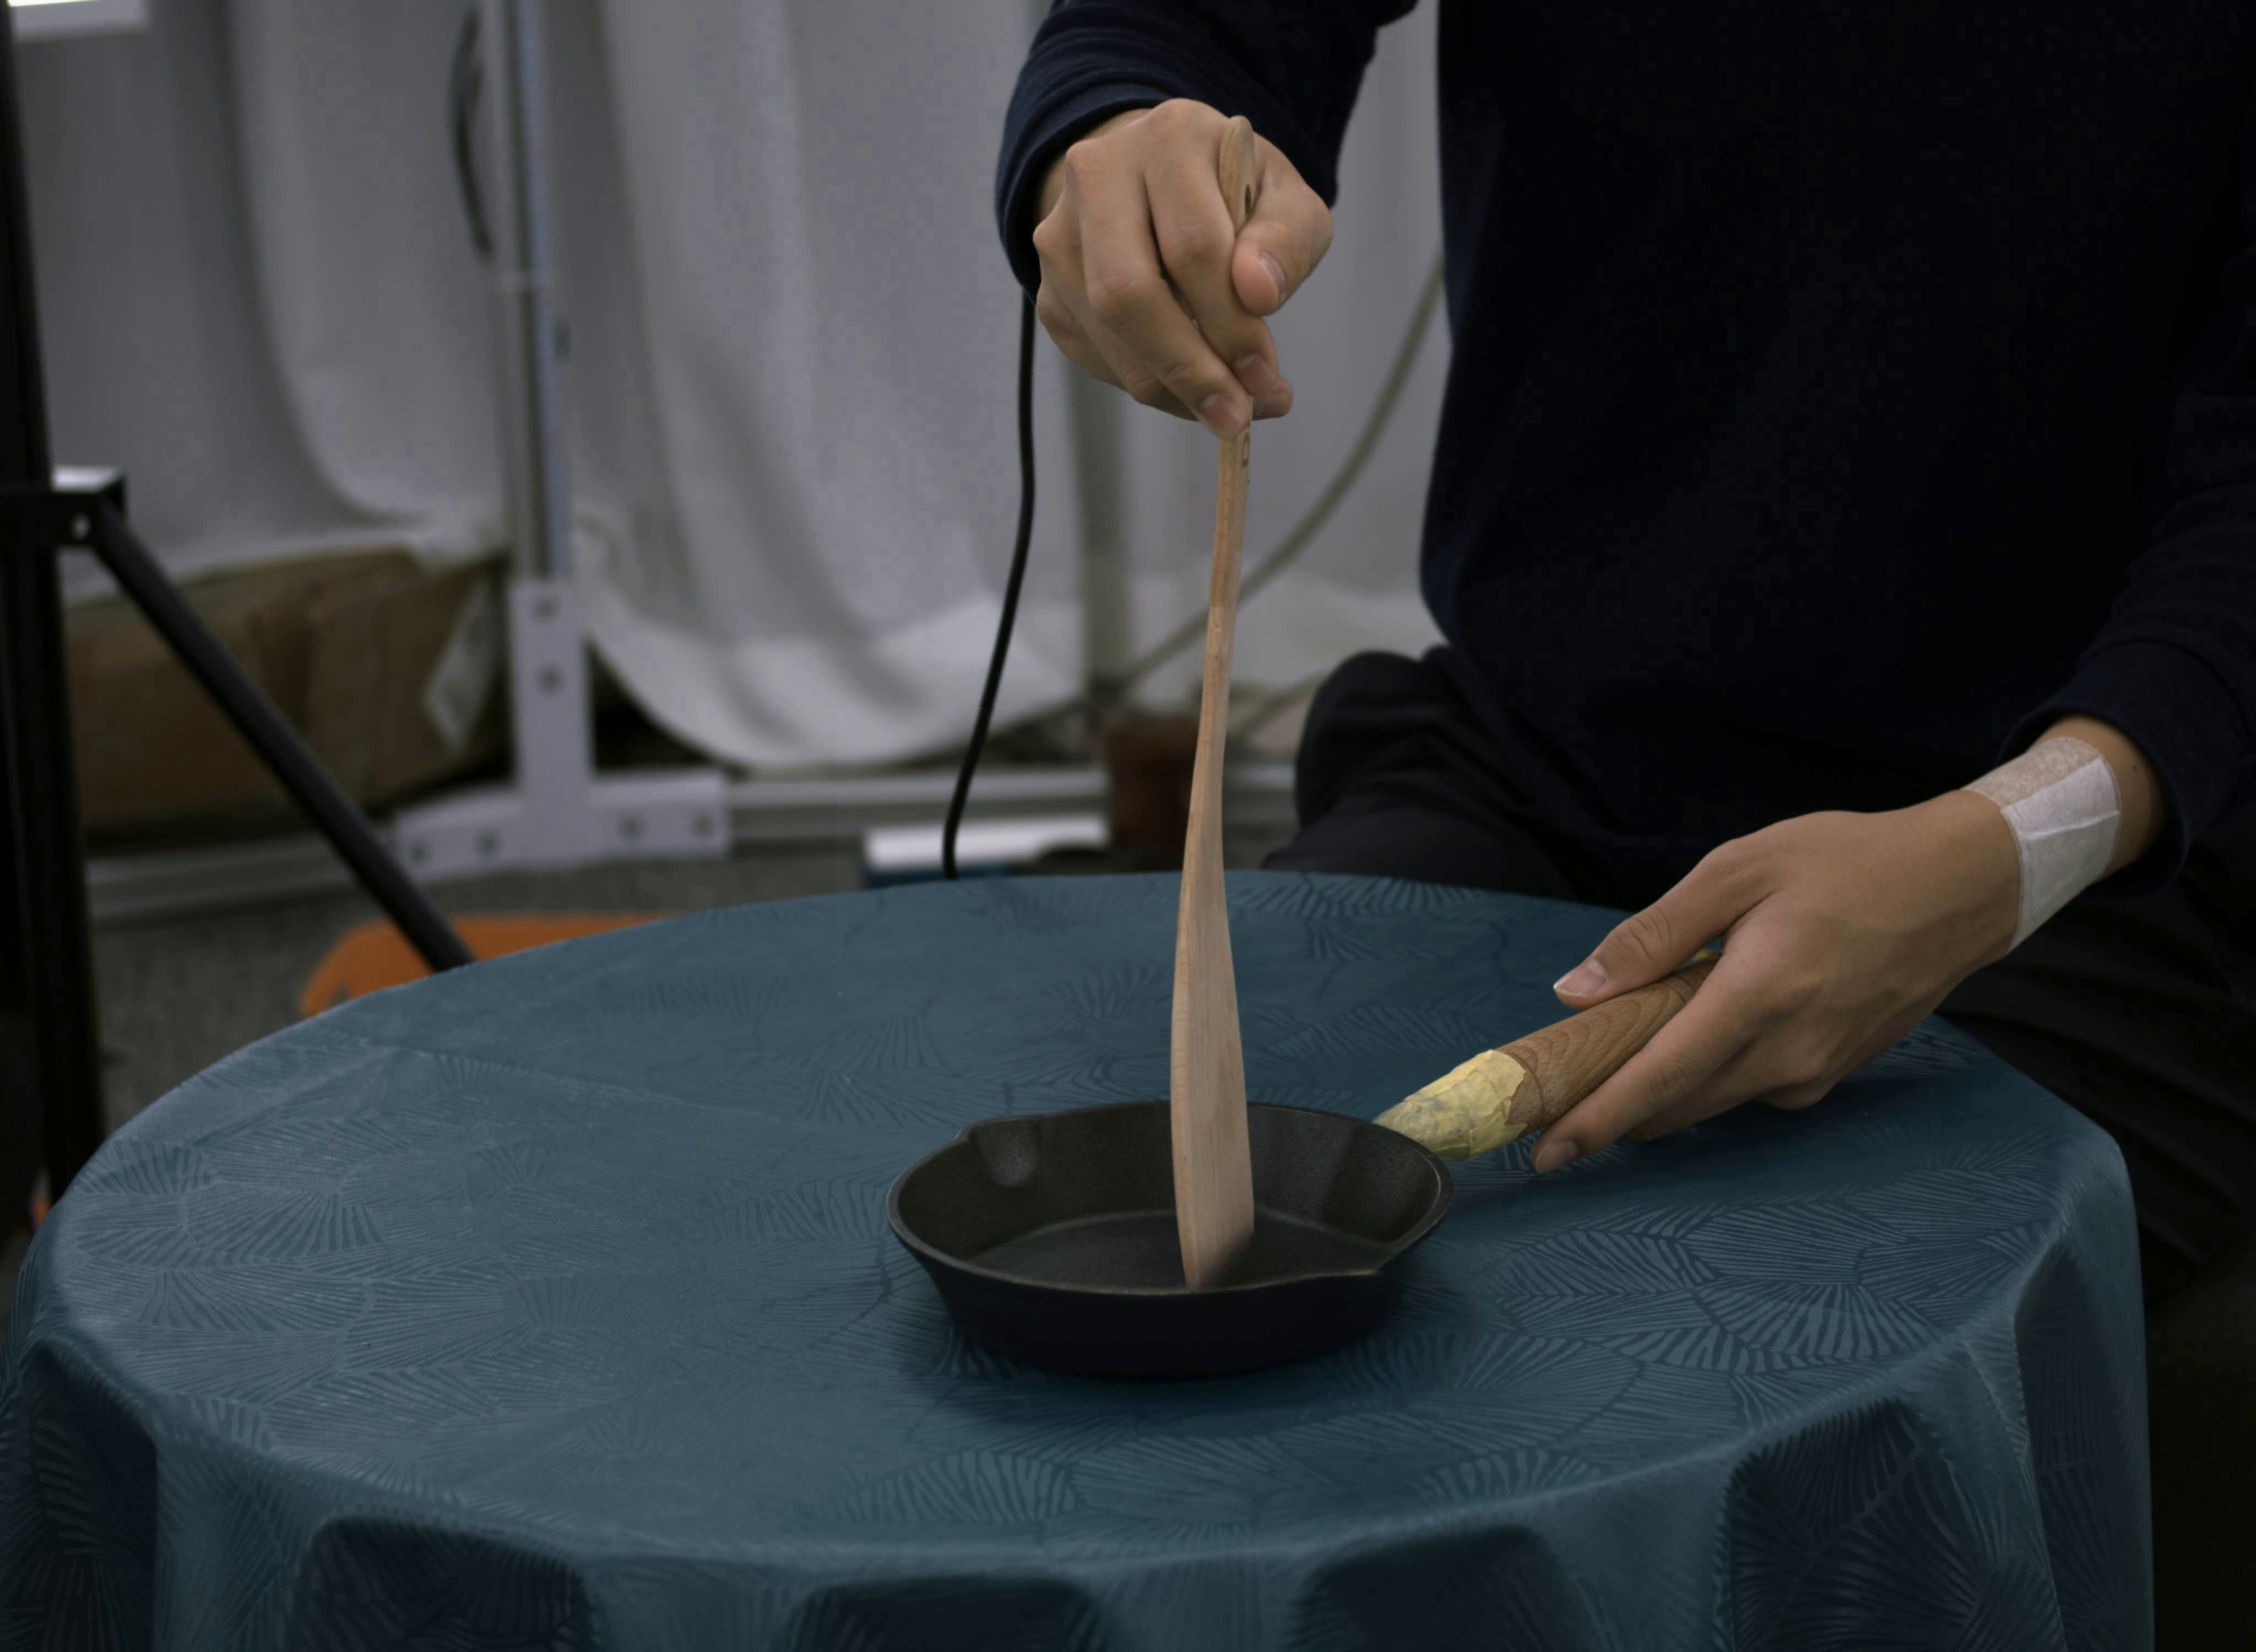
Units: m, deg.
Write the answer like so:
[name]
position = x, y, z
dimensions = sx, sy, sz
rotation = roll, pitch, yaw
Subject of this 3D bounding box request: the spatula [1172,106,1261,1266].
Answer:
[spatula]
position = 0.028, -0.029, 1.450
dimensions = 0.016, 0.328, 0.079
rotation = 4, 9, 12

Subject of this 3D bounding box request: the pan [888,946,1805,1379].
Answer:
[pan]
position = 0.078, 0.091, 1.511
dimensions = 0.317, 0.049, 0.173
rotation = -15, 20, -34
